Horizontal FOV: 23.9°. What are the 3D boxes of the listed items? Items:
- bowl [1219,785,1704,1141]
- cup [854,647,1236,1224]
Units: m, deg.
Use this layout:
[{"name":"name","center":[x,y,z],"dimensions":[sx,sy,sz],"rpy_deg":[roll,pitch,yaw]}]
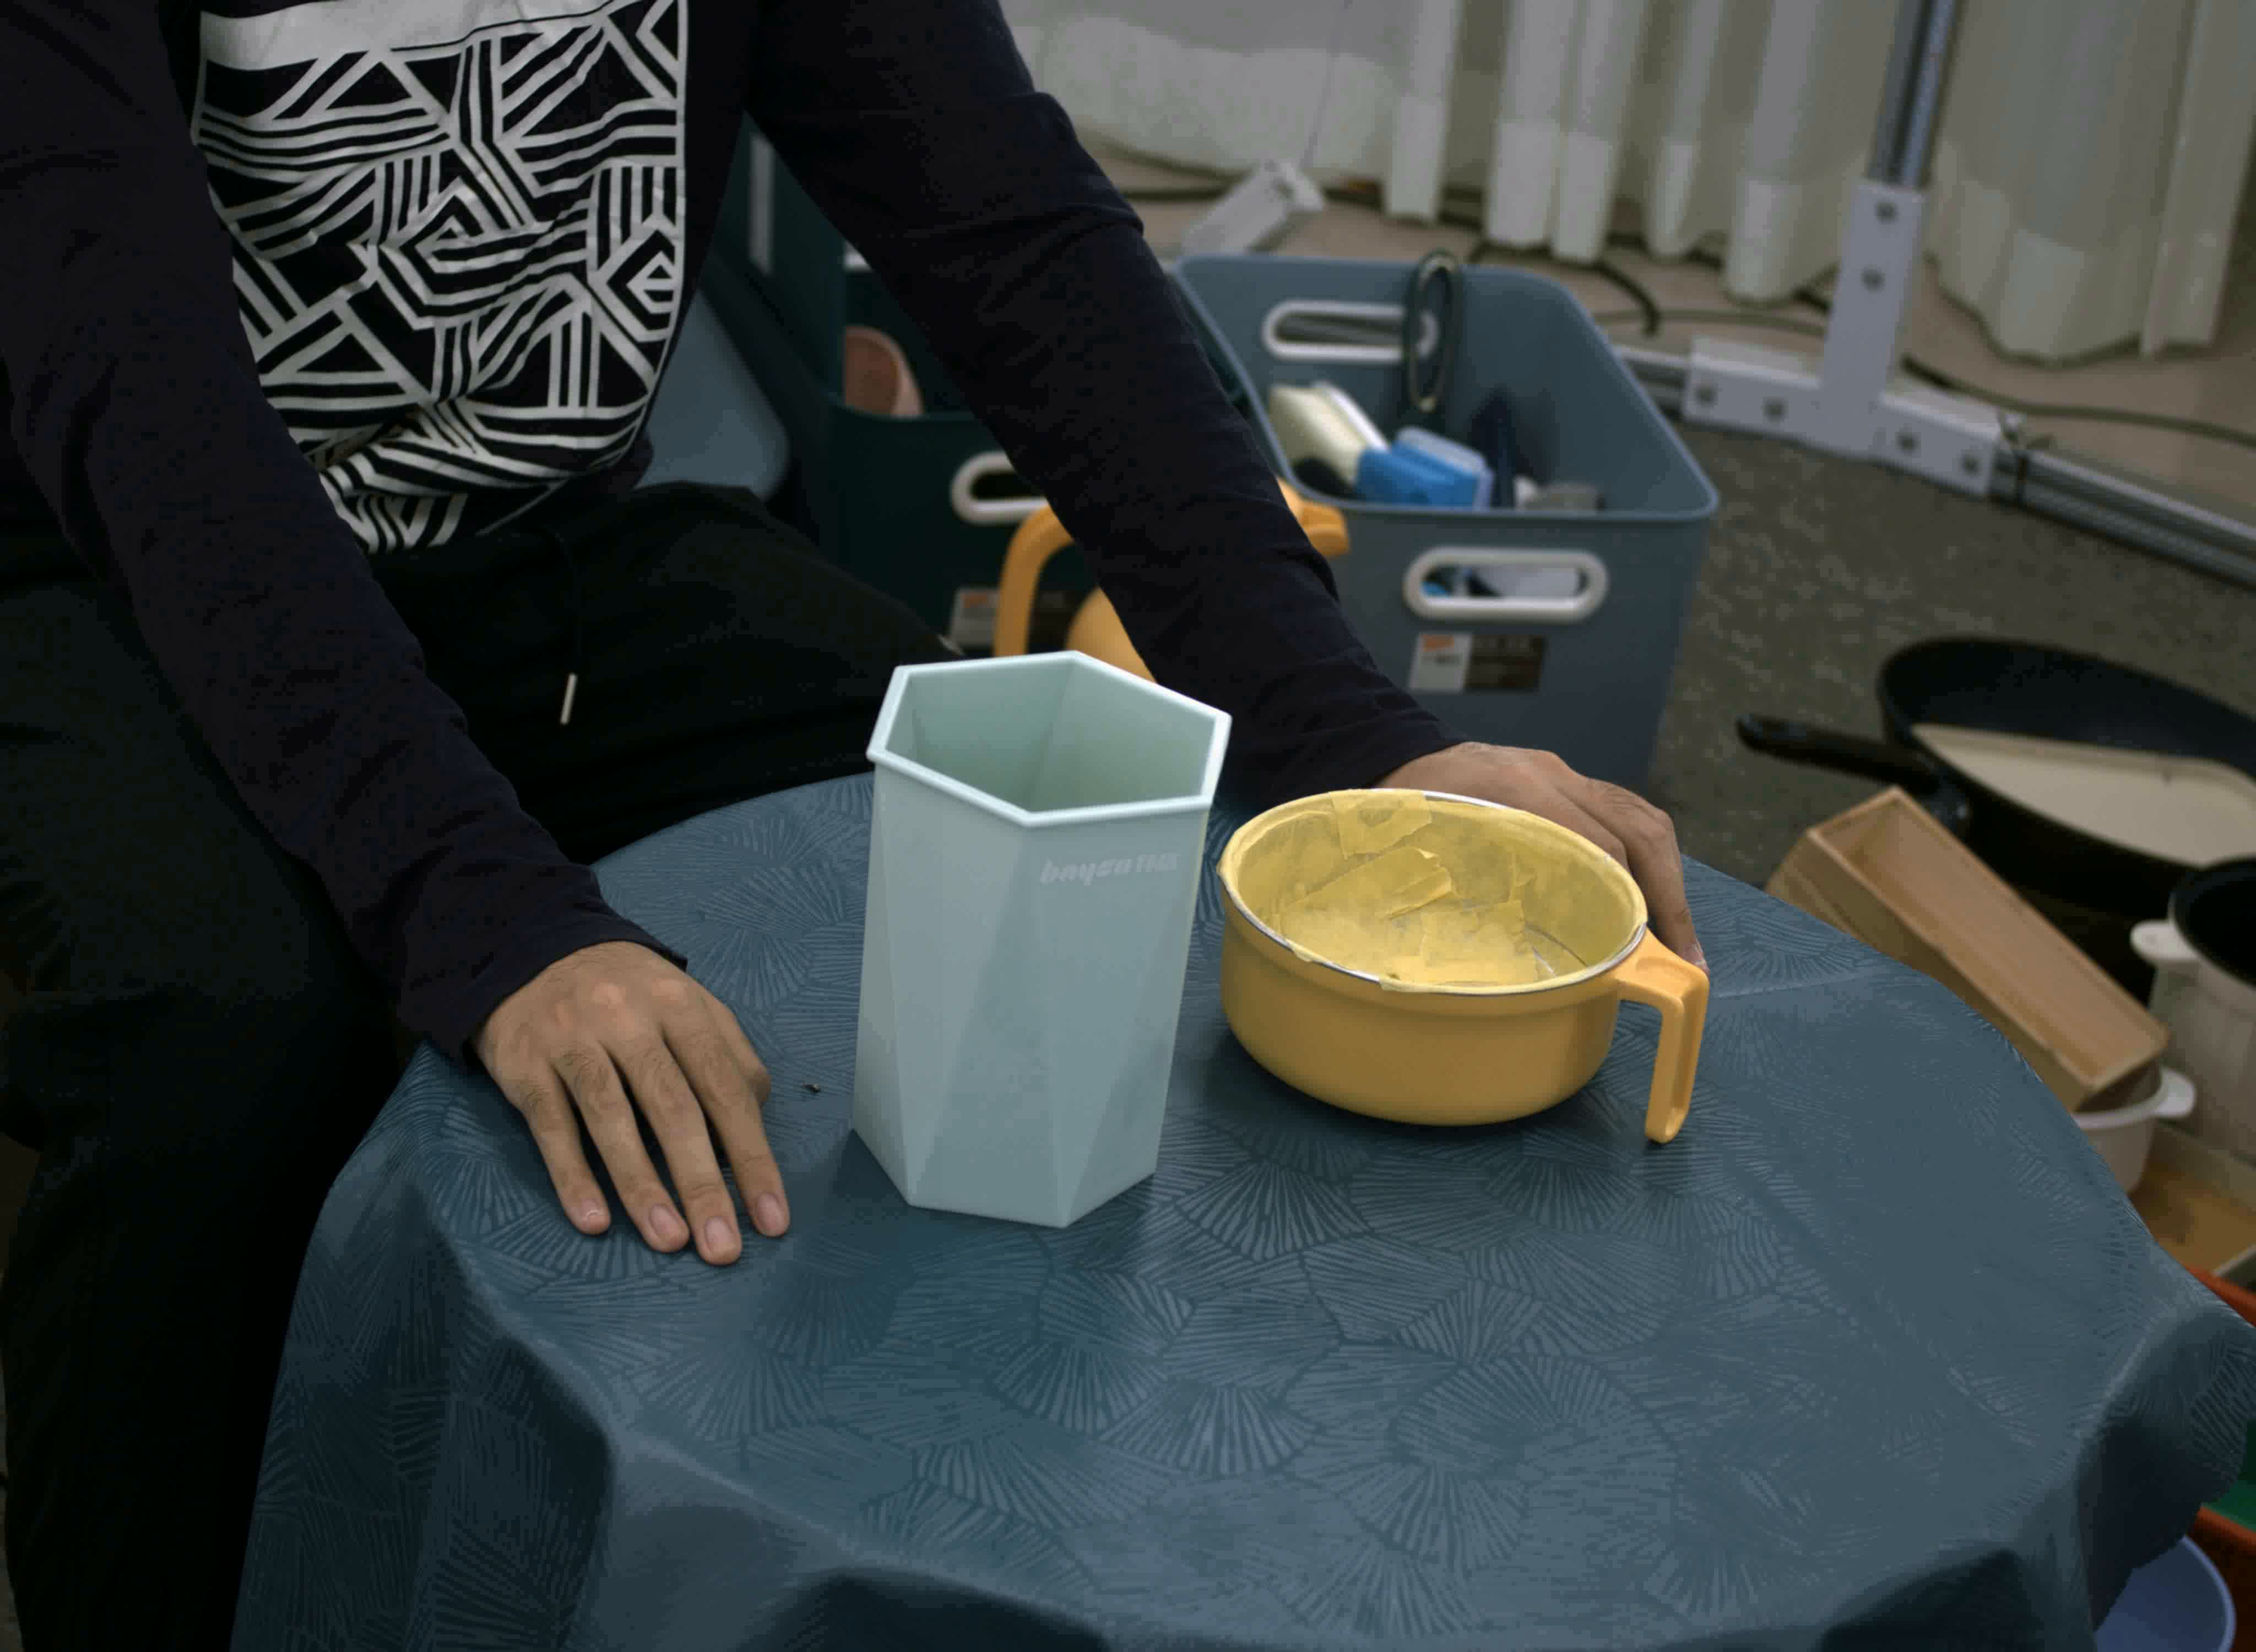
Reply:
[{"name":"bowl","center":[0.116,0.053,1.894],"dimensions":[0.180,0.074,0.153],"rpy_deg":[16,25,22]},{"name":"cup","center":[-0.032,0.039,1.785],"dimensions":[0.130,0.162,0.116],"rpy_deg":[-6,28,-25]}]
